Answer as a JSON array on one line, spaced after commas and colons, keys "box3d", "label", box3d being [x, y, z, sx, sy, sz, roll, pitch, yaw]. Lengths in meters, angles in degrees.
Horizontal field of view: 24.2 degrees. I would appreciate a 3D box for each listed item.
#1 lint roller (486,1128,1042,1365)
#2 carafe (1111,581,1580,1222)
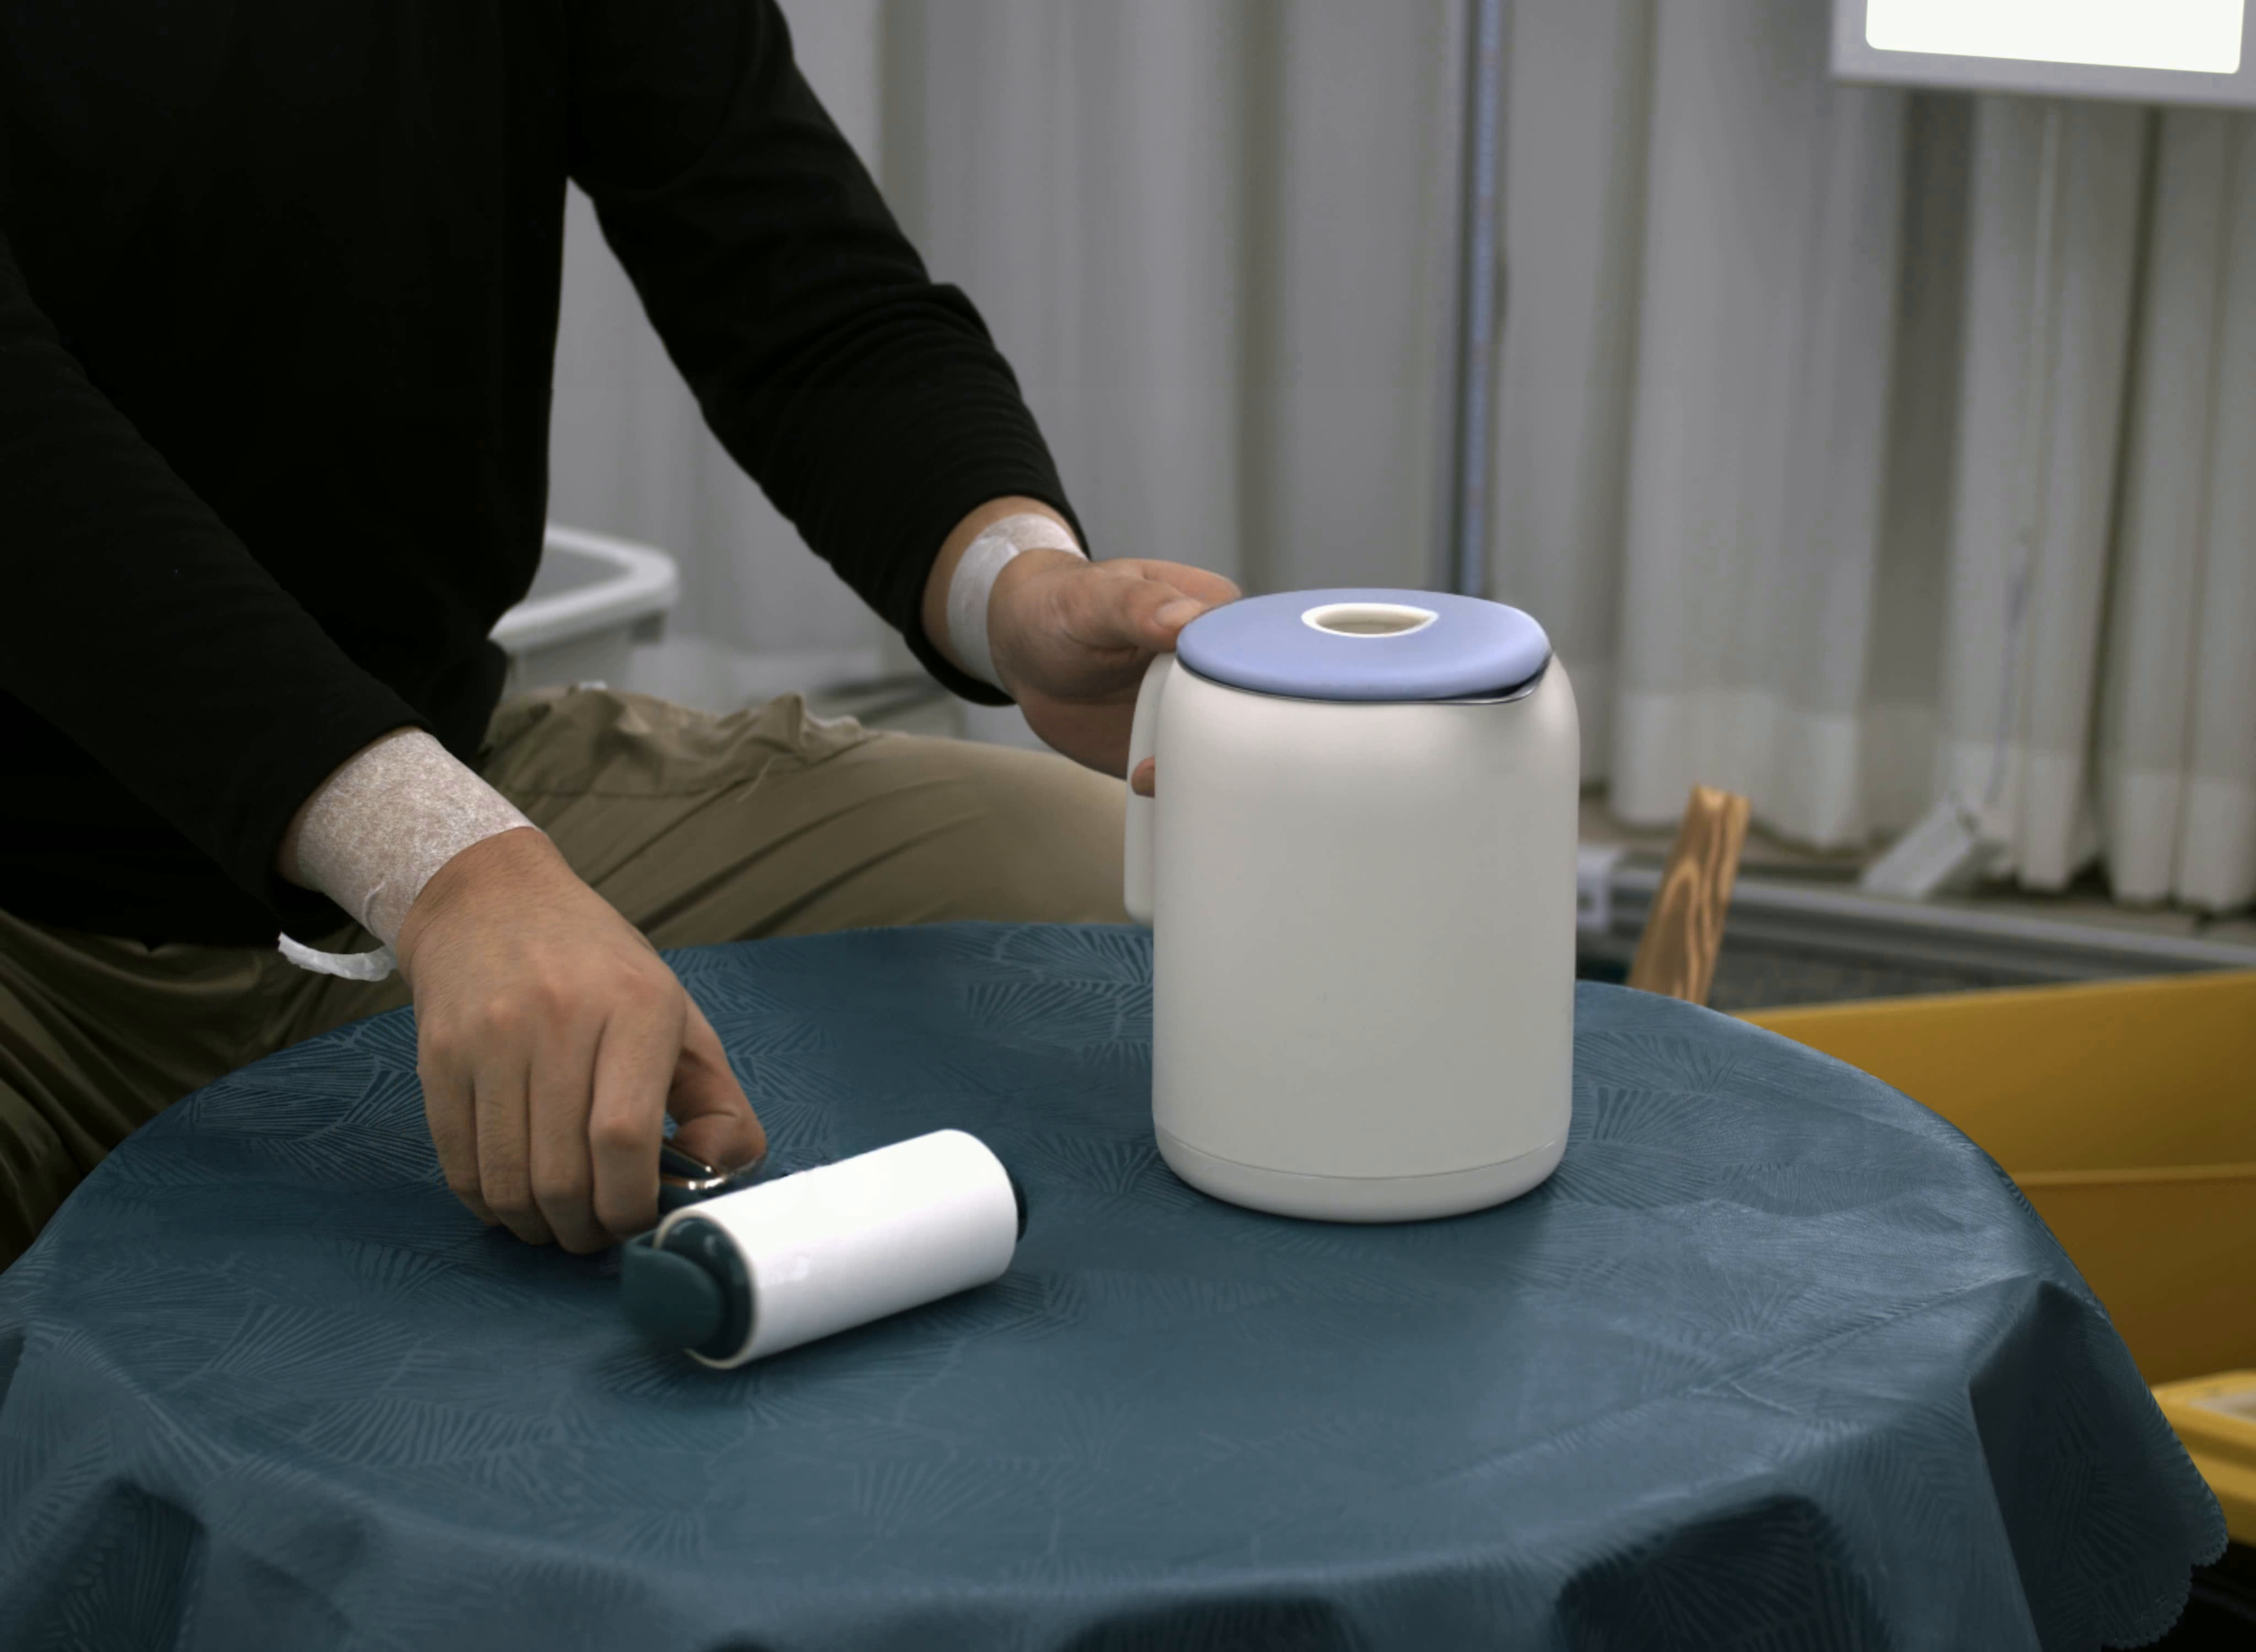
[{"box3d": [-0.130, 0.103, 1.546, 0.135, 0.049, 0.177, -13, 24, -41], "label": "lint roller"}, {"box3d": [0.058, 0.017, 1.643, 0.133, 0.184, 0.188, -11, 18, -37], "label": "carafe"}]
